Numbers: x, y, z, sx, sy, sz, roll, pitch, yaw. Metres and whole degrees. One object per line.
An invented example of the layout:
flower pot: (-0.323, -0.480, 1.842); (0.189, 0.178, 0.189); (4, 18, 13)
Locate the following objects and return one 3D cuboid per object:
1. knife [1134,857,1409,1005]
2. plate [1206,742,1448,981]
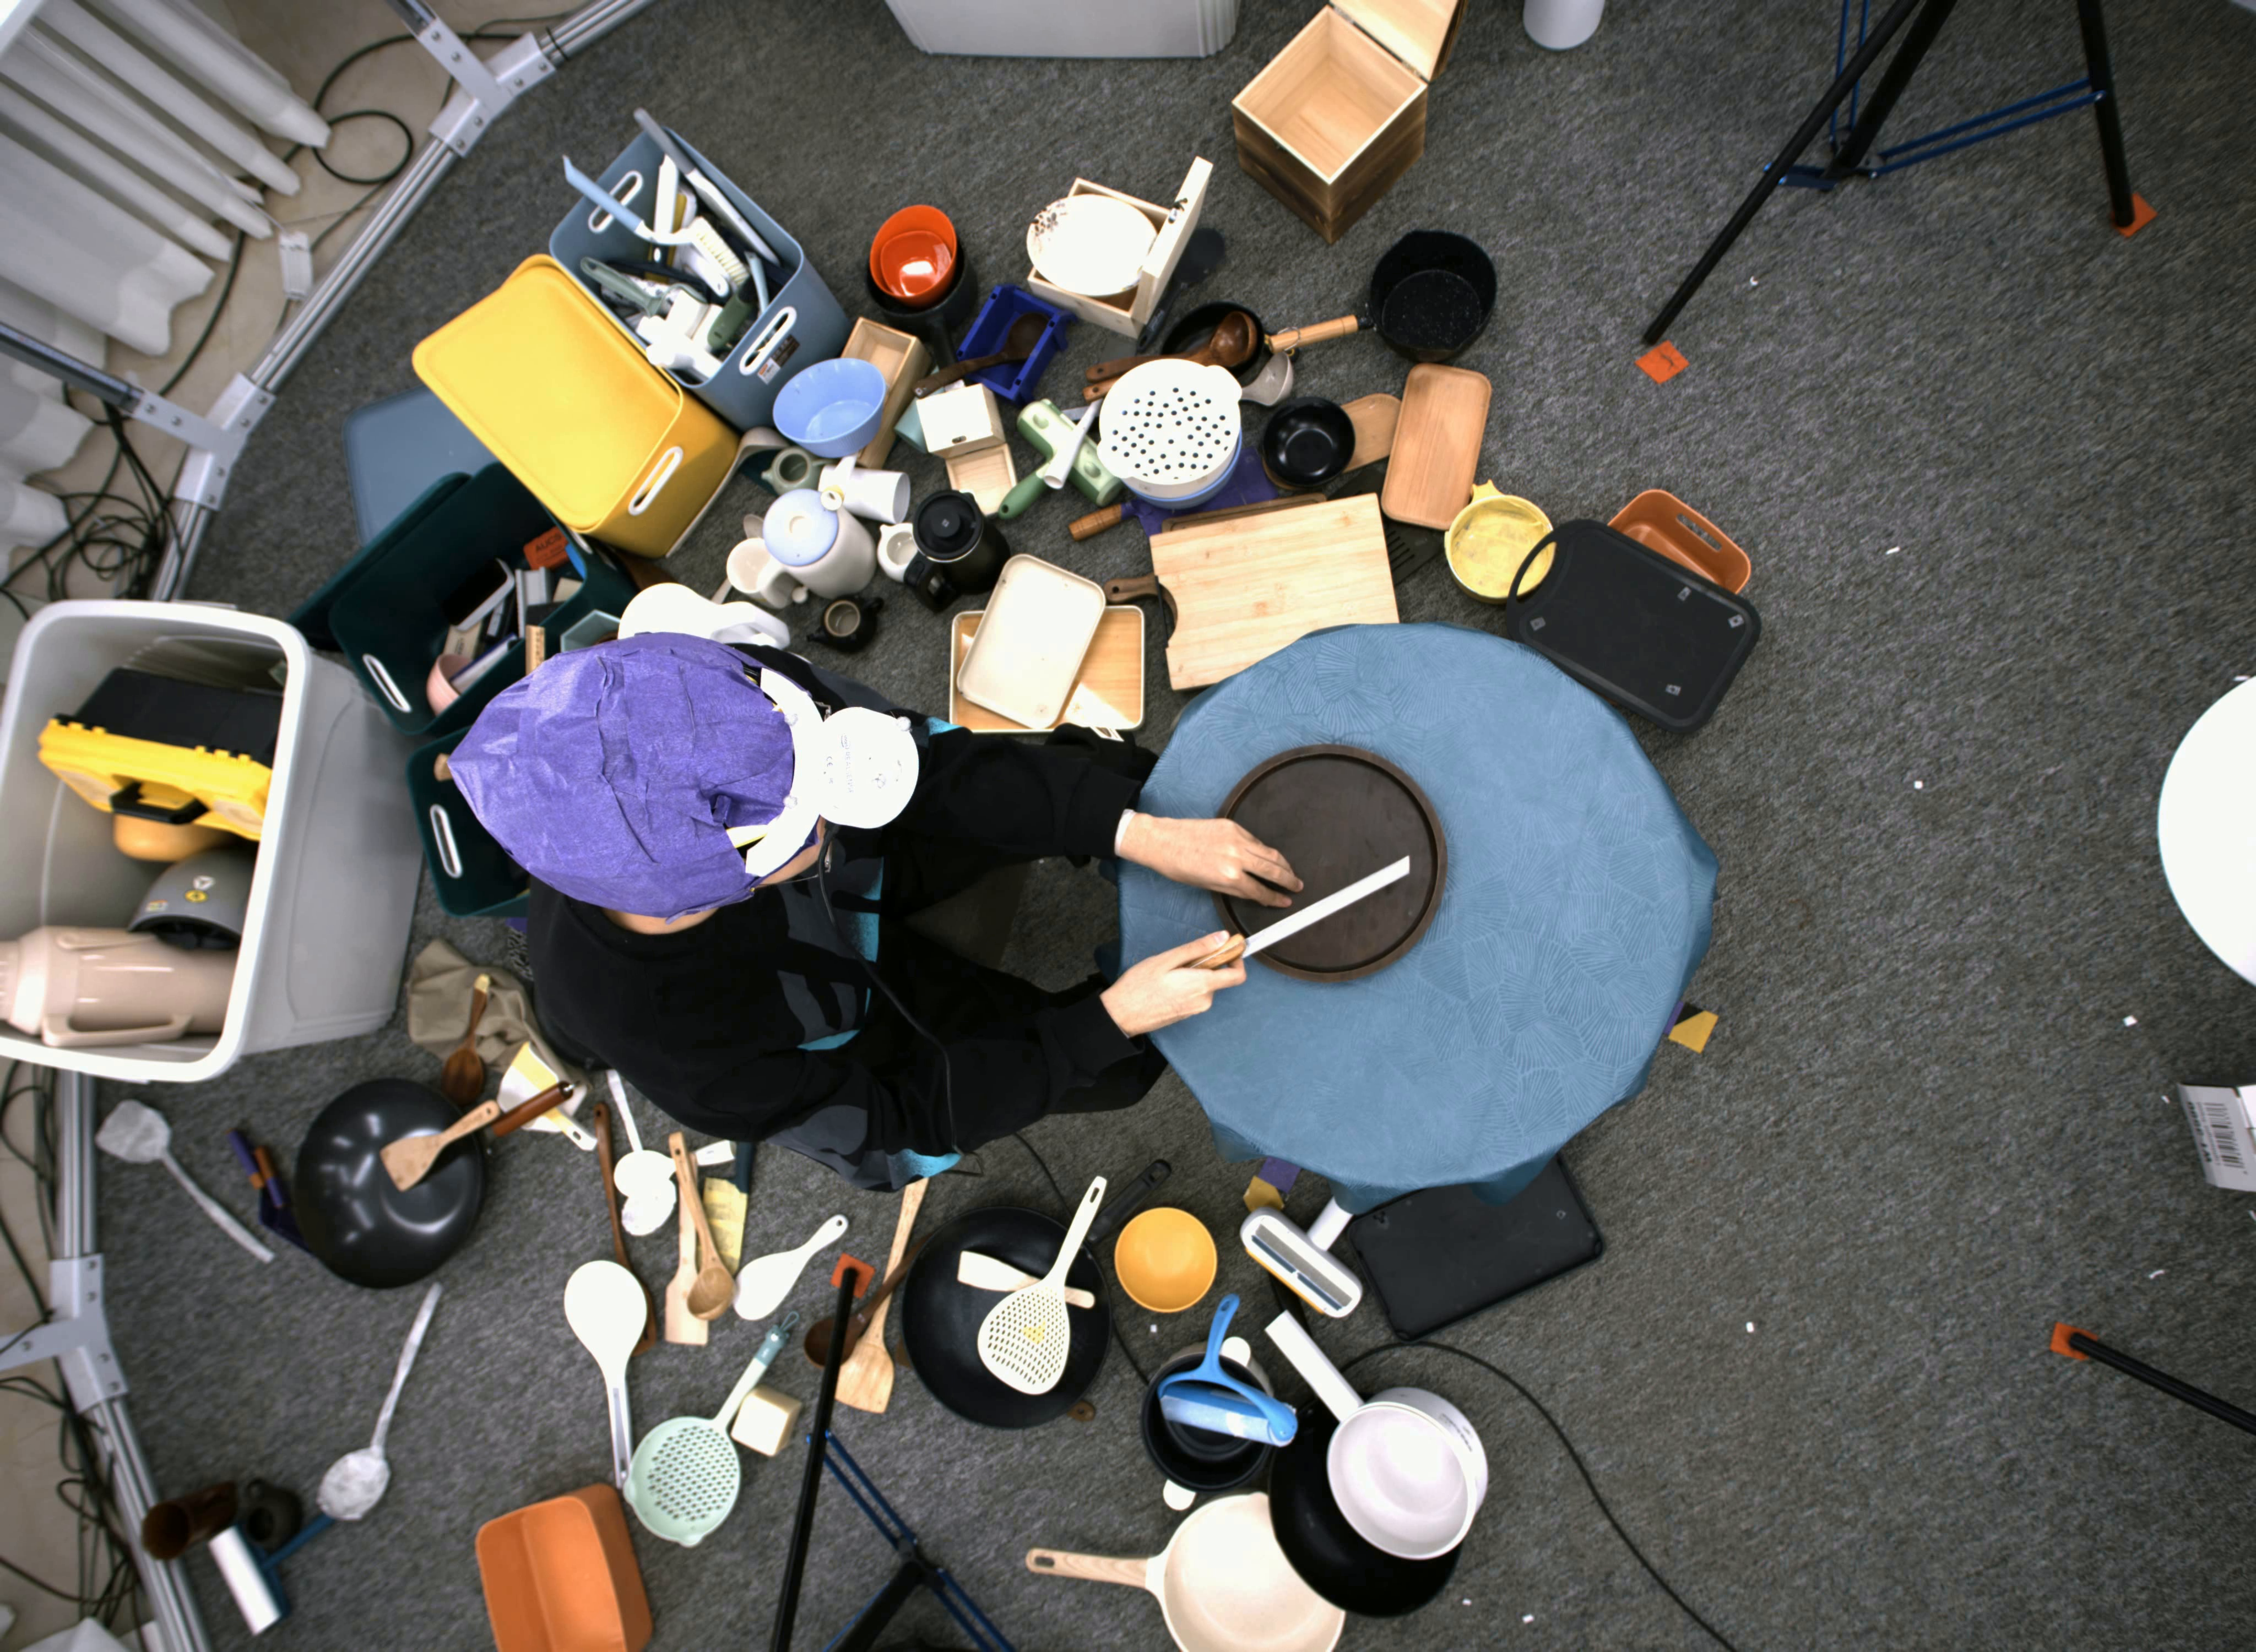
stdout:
knife: (0.149, 0.107, 1.410); (0.307, 0.093, 0.021); (-28, 74, 6)
plate: (0.209, 0.037, 1.460); (0.256, 0.029, 0.253); (-1, 85, 10)
